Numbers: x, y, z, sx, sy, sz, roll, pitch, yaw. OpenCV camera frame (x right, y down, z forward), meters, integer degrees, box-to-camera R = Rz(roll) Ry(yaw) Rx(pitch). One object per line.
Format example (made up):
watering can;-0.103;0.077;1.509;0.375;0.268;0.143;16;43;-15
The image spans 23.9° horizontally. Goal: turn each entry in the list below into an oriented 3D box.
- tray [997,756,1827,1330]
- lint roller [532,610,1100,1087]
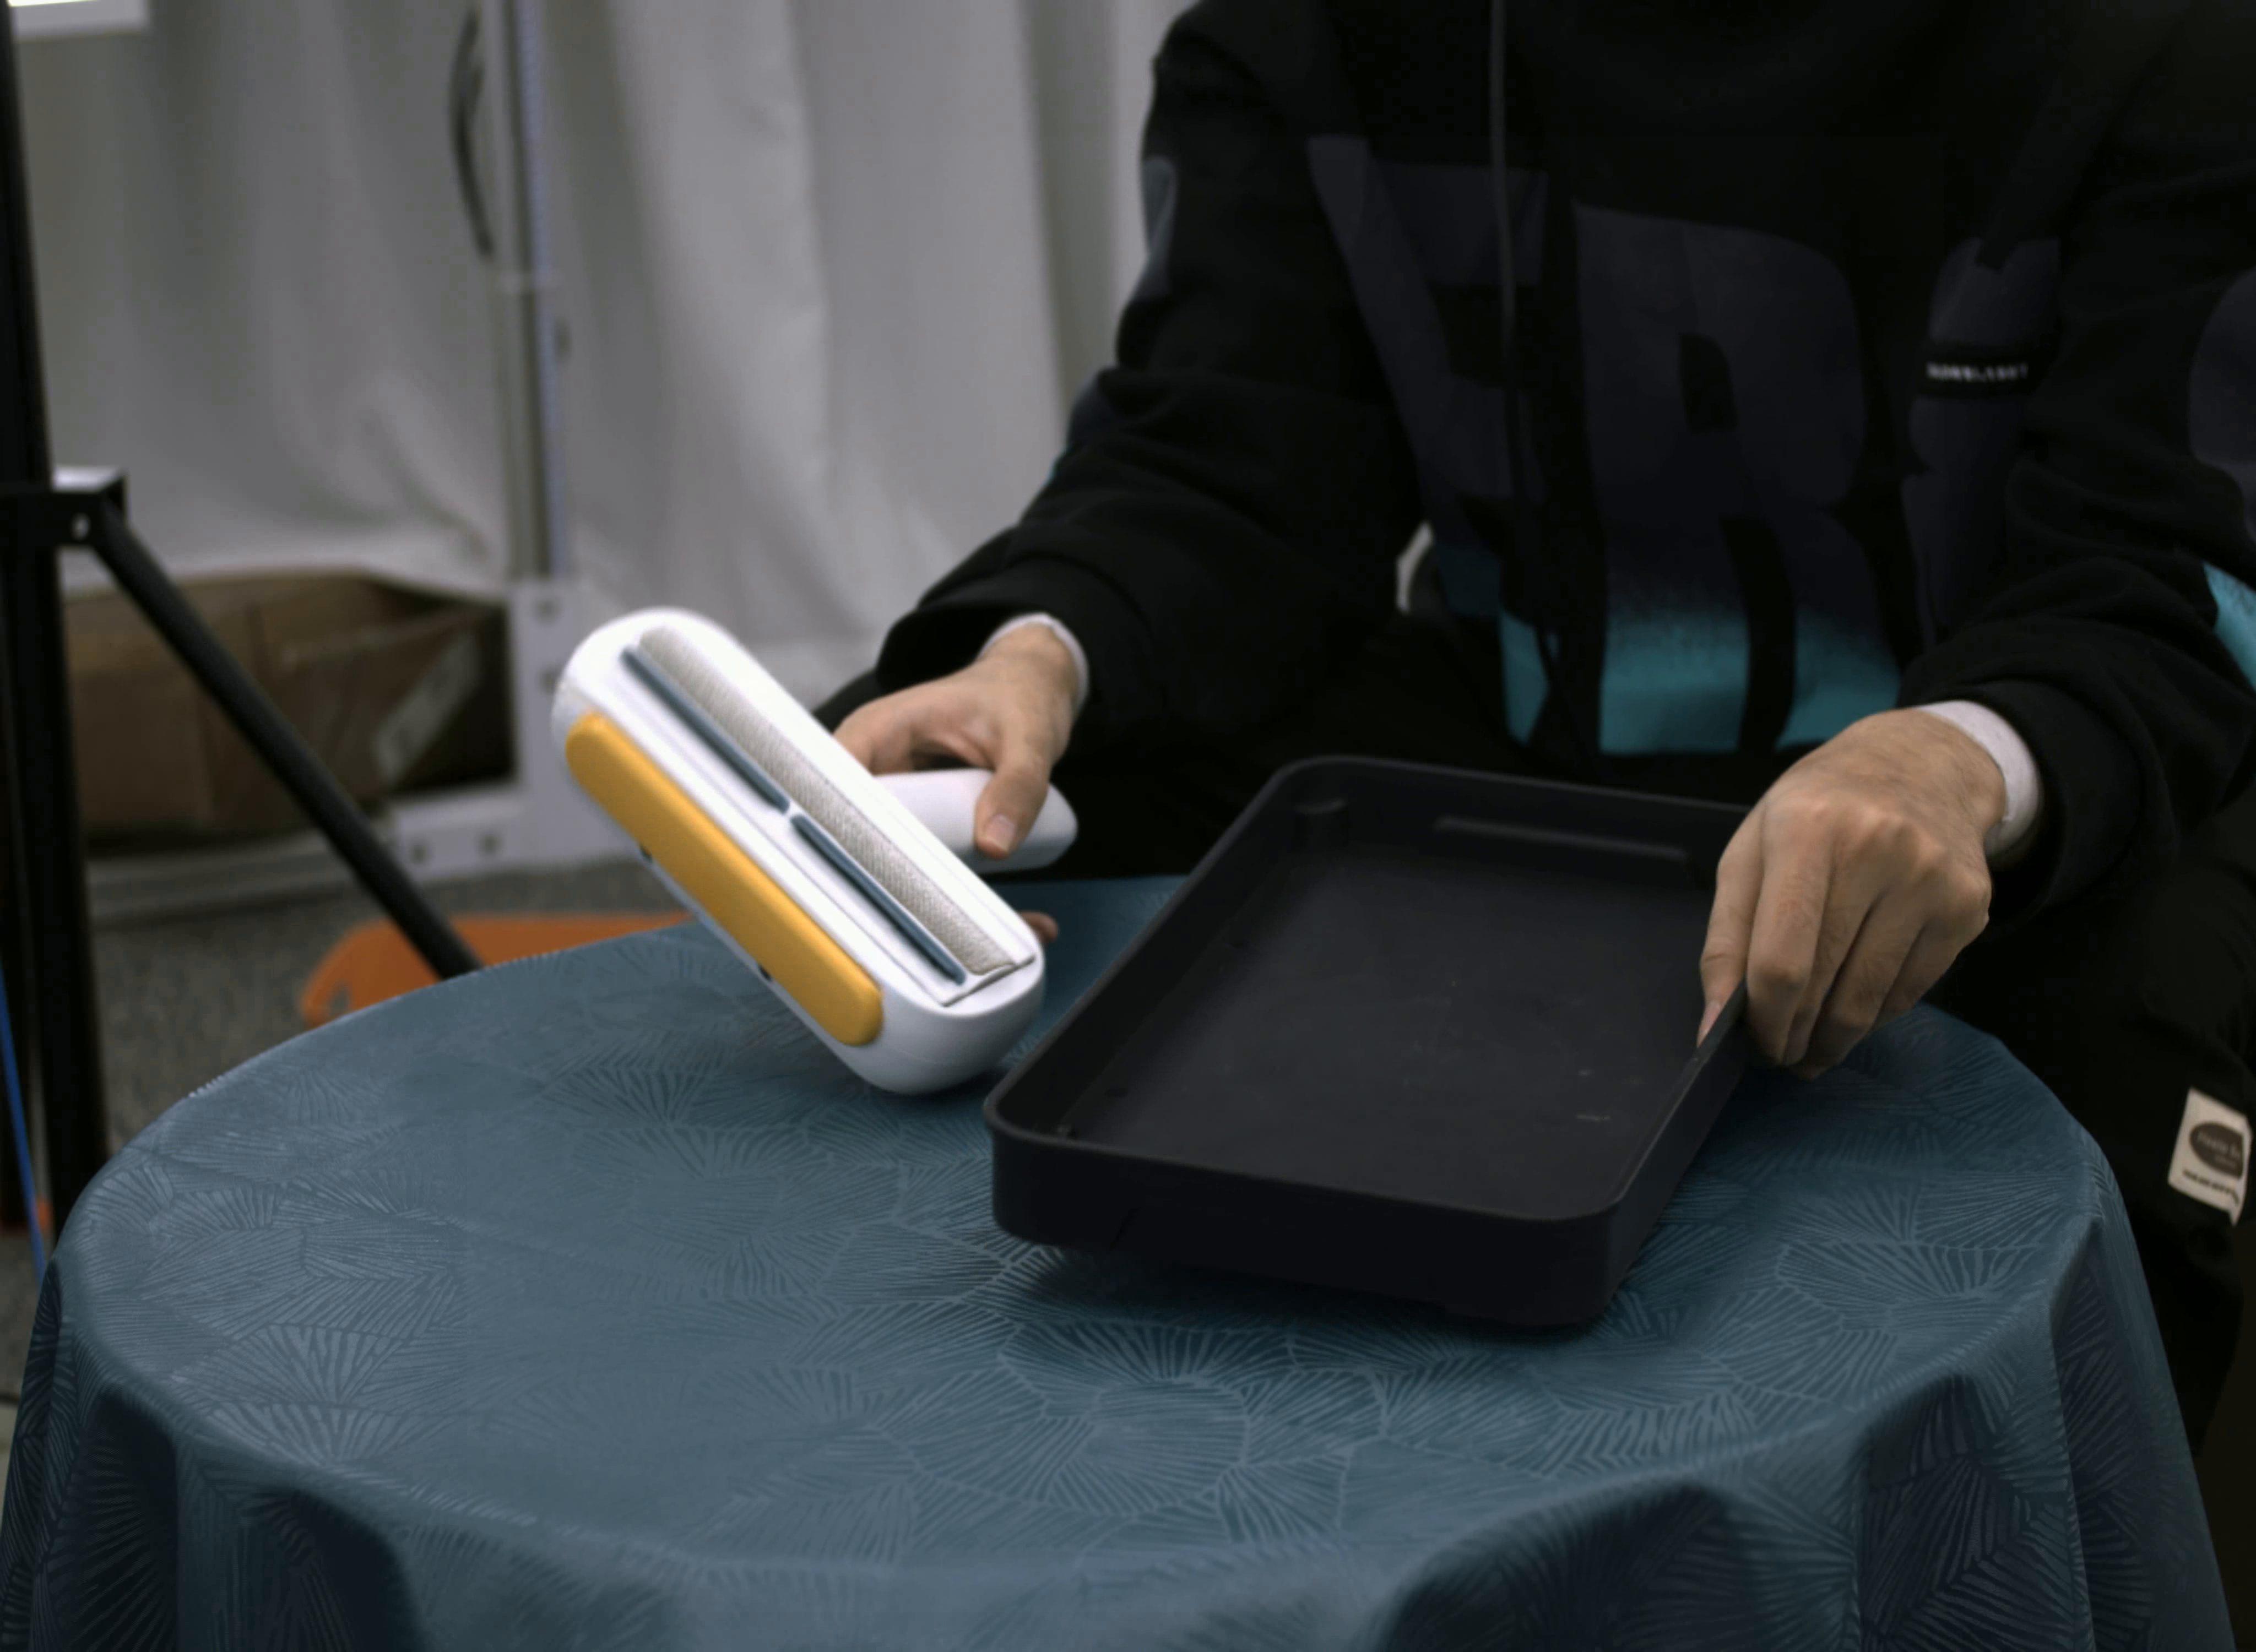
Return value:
tray;0.092;0.057;1.576;0.186;0.037;0.315;7;23;17
lint roller;-0.076;0.001;1.729;0.196;0.074;0.188;40;35;28
